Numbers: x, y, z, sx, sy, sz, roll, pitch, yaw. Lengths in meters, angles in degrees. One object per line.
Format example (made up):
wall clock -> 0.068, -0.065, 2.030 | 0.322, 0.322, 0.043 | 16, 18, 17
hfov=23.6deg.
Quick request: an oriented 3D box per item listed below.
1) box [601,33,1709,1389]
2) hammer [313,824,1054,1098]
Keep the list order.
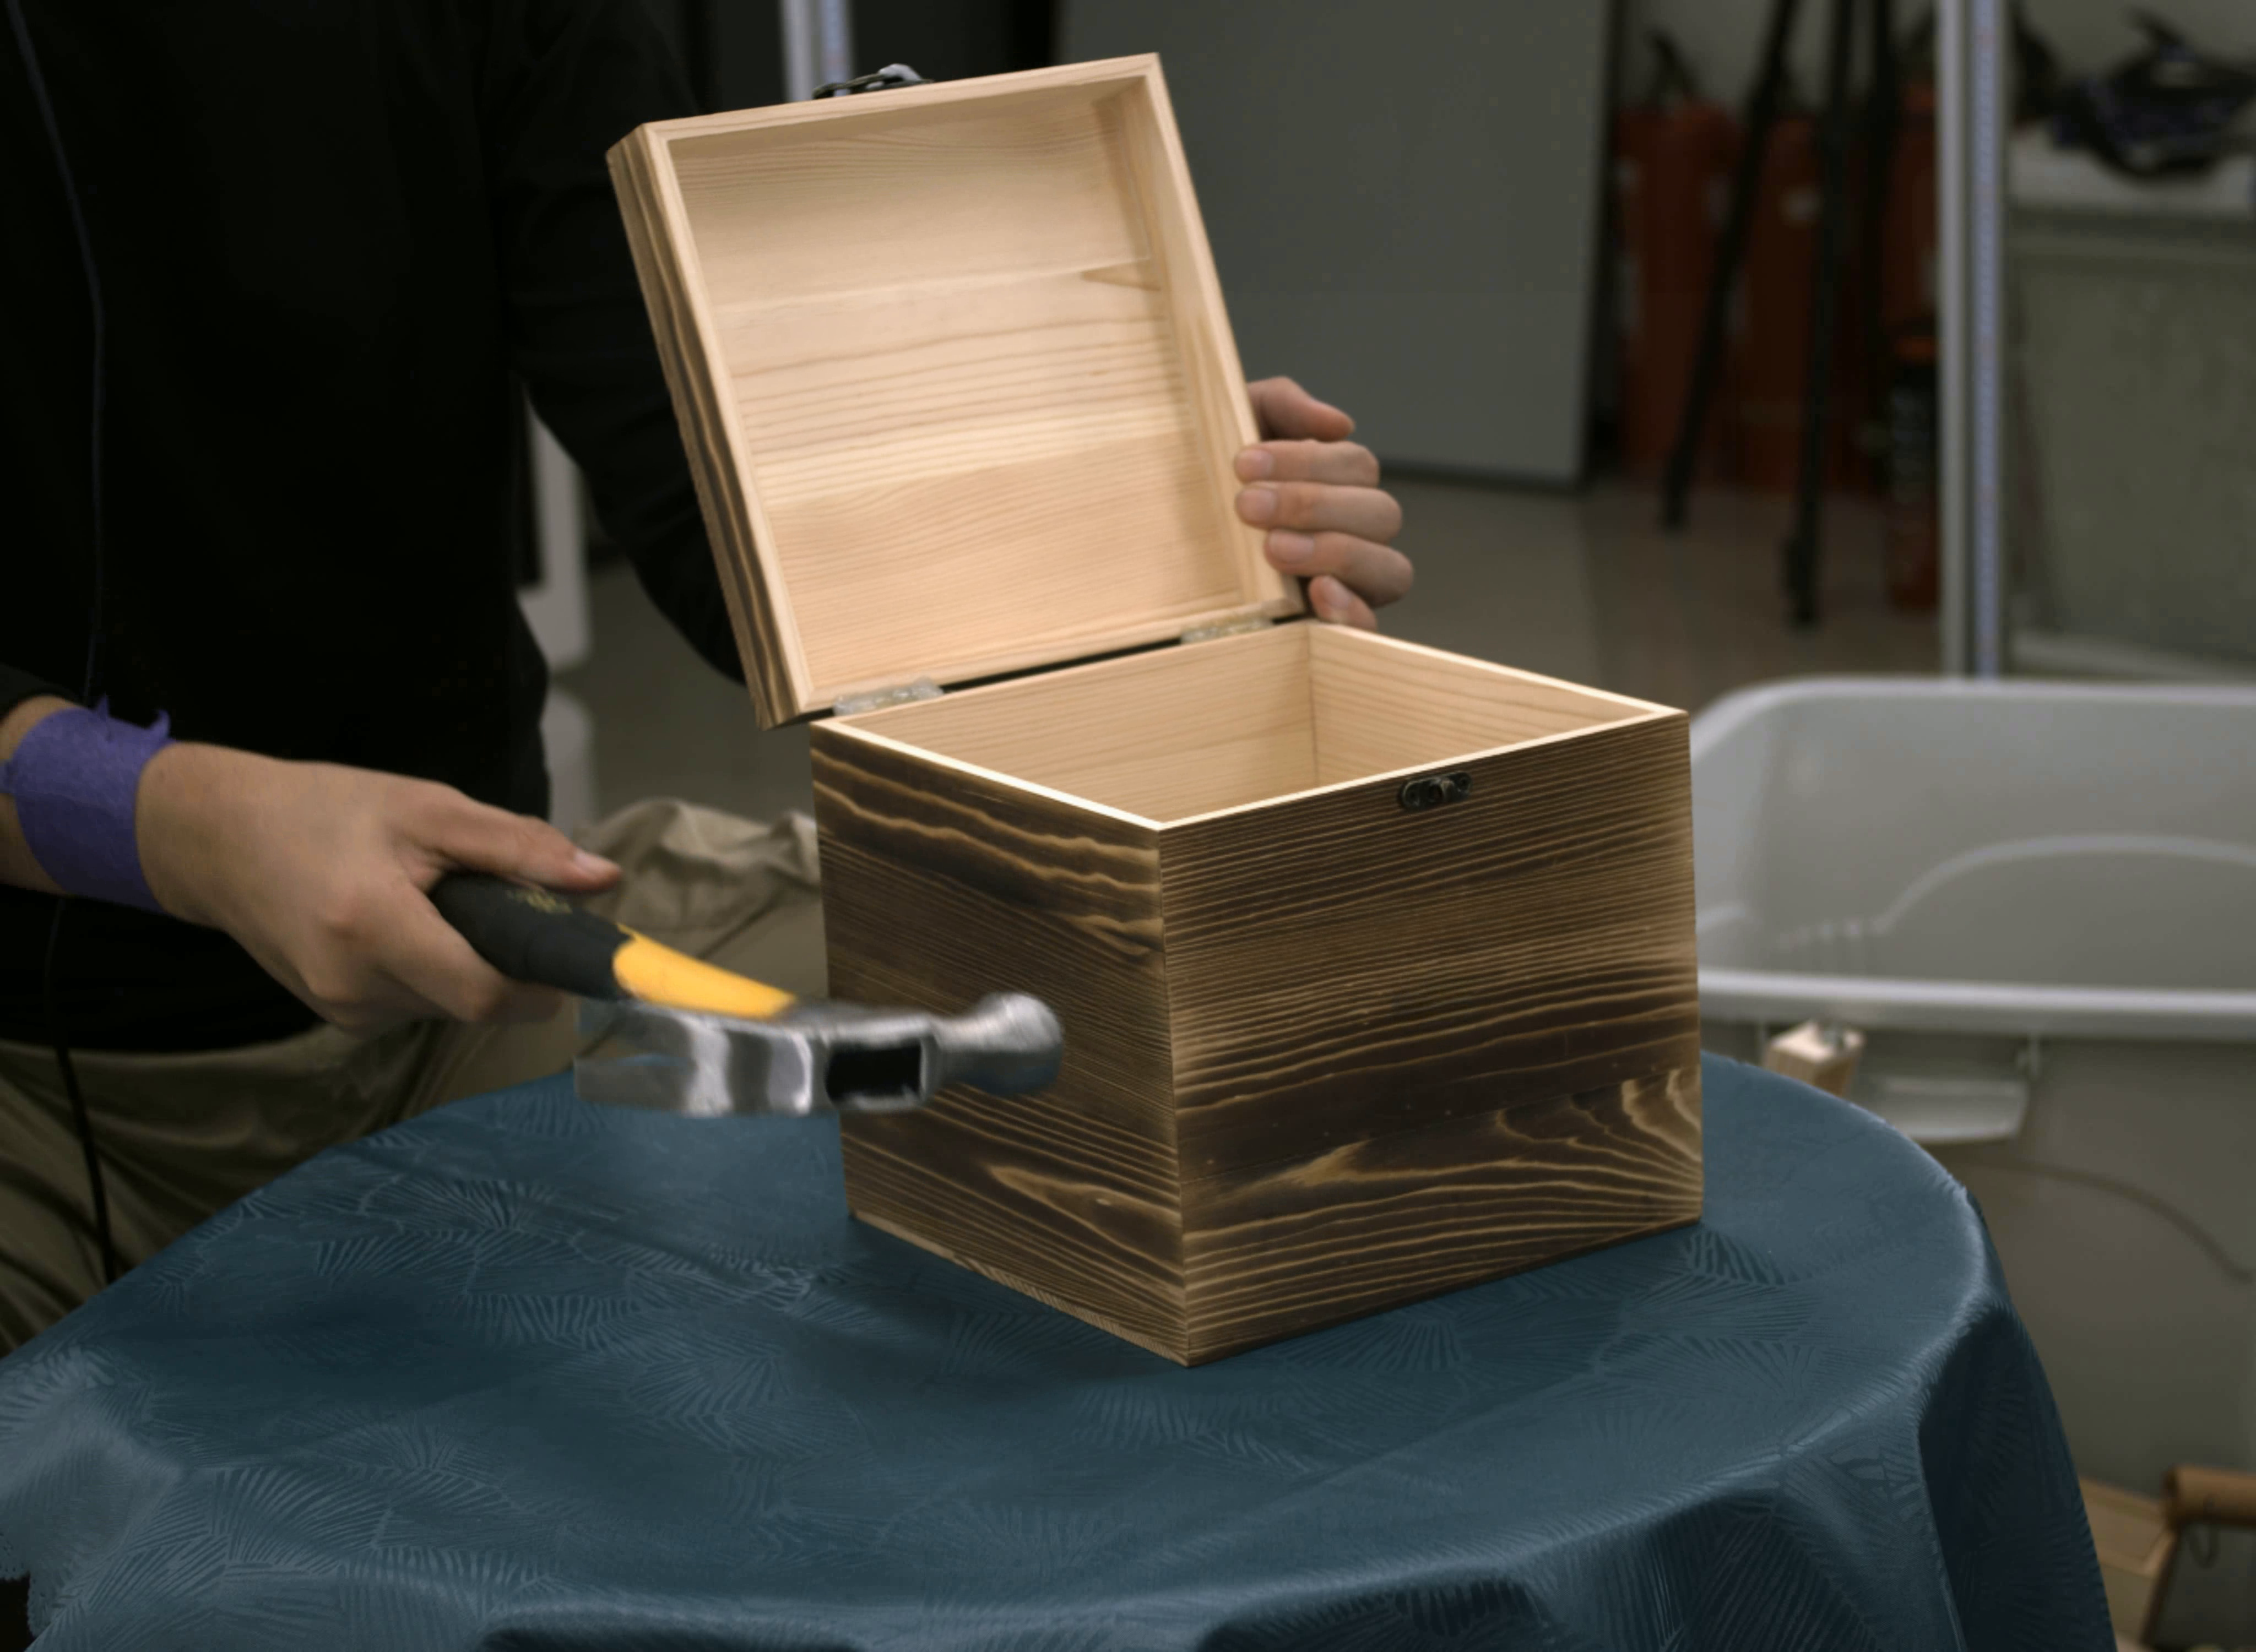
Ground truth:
box -> 0.005, -0.055, 1.737 | 0.204, 0.379, 0.325 | -13, 15, -30
hammer -> -0.164, 0.036, 1.651 | 0.128, 0.032, 0.342 | -4, 11, -32
